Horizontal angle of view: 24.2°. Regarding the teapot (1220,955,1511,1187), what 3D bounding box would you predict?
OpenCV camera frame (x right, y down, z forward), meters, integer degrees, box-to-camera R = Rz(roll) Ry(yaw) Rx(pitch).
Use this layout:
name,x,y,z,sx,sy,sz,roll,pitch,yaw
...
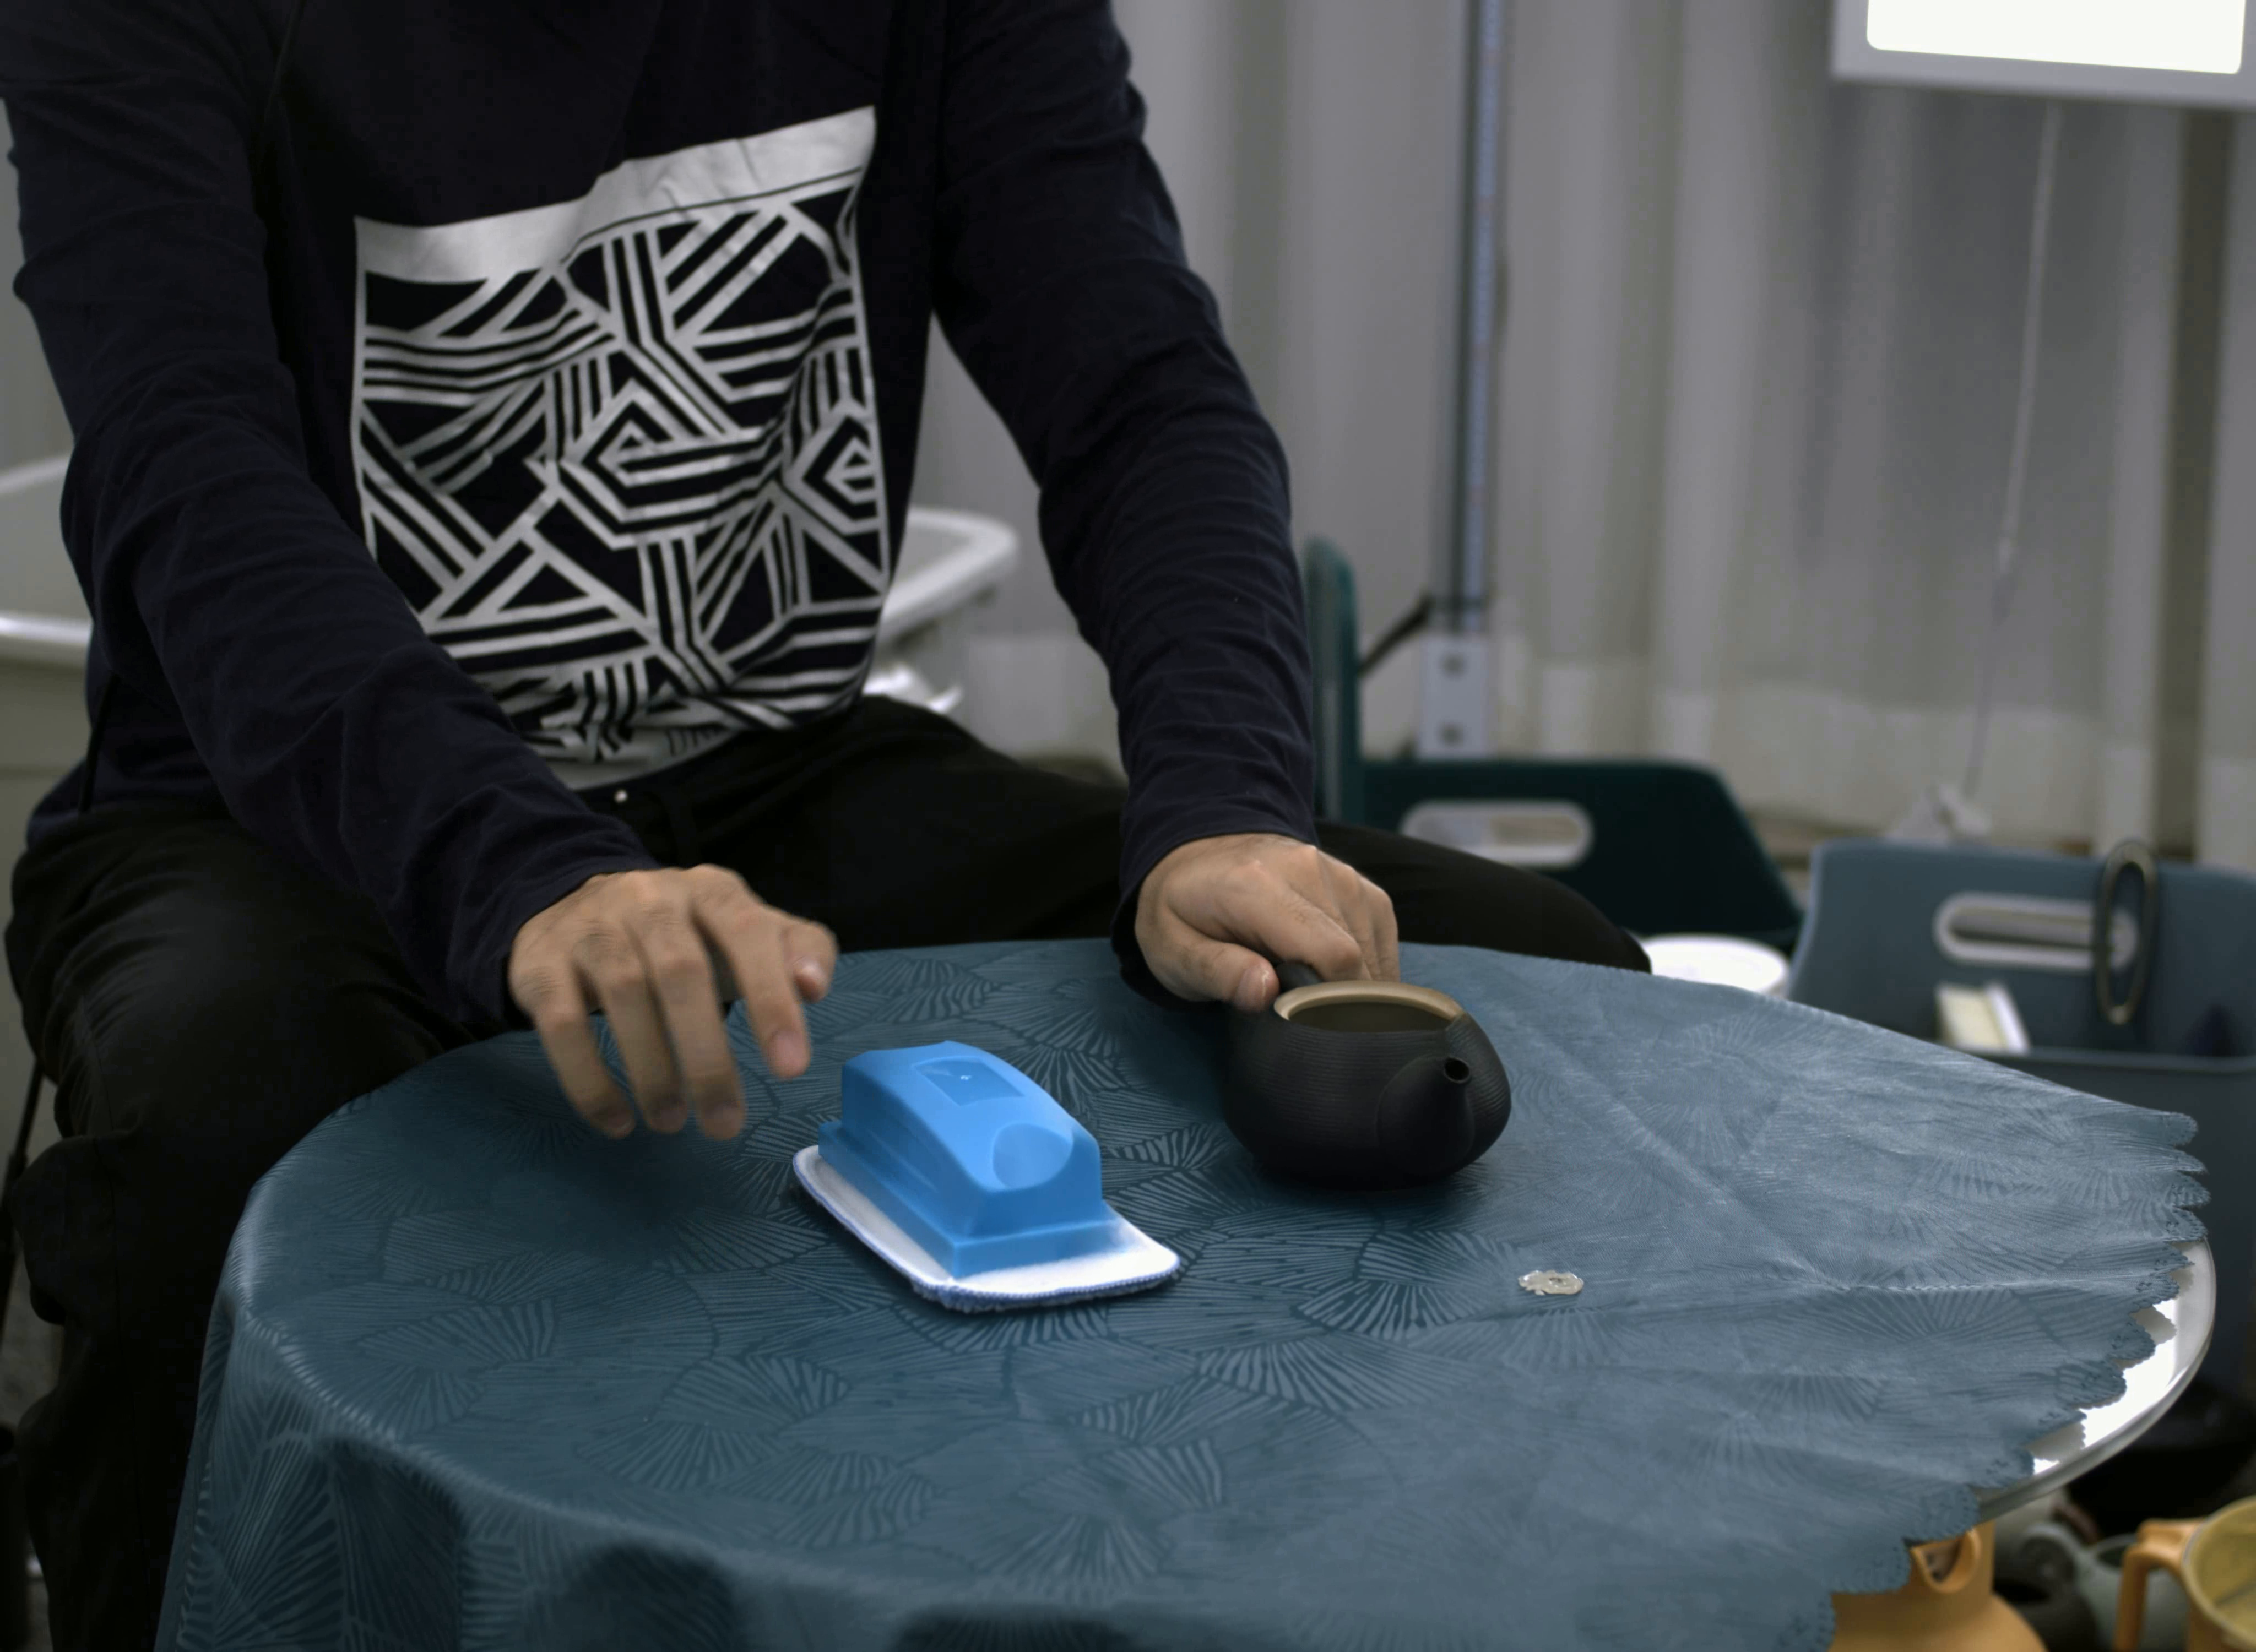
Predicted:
name,x,y,z,sx,sy,sz,roll,pitch,yaw
teapot,0.074,0.079,1.643,0.091,0.053,0.131,-5,17,-23

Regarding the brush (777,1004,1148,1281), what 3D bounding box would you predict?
name,x,y,z,sx,sy,sz,roll,pitch,yaw
brush,-0.049,0.092,1.580,0.084,0.056,0.142,-2,19,-21
